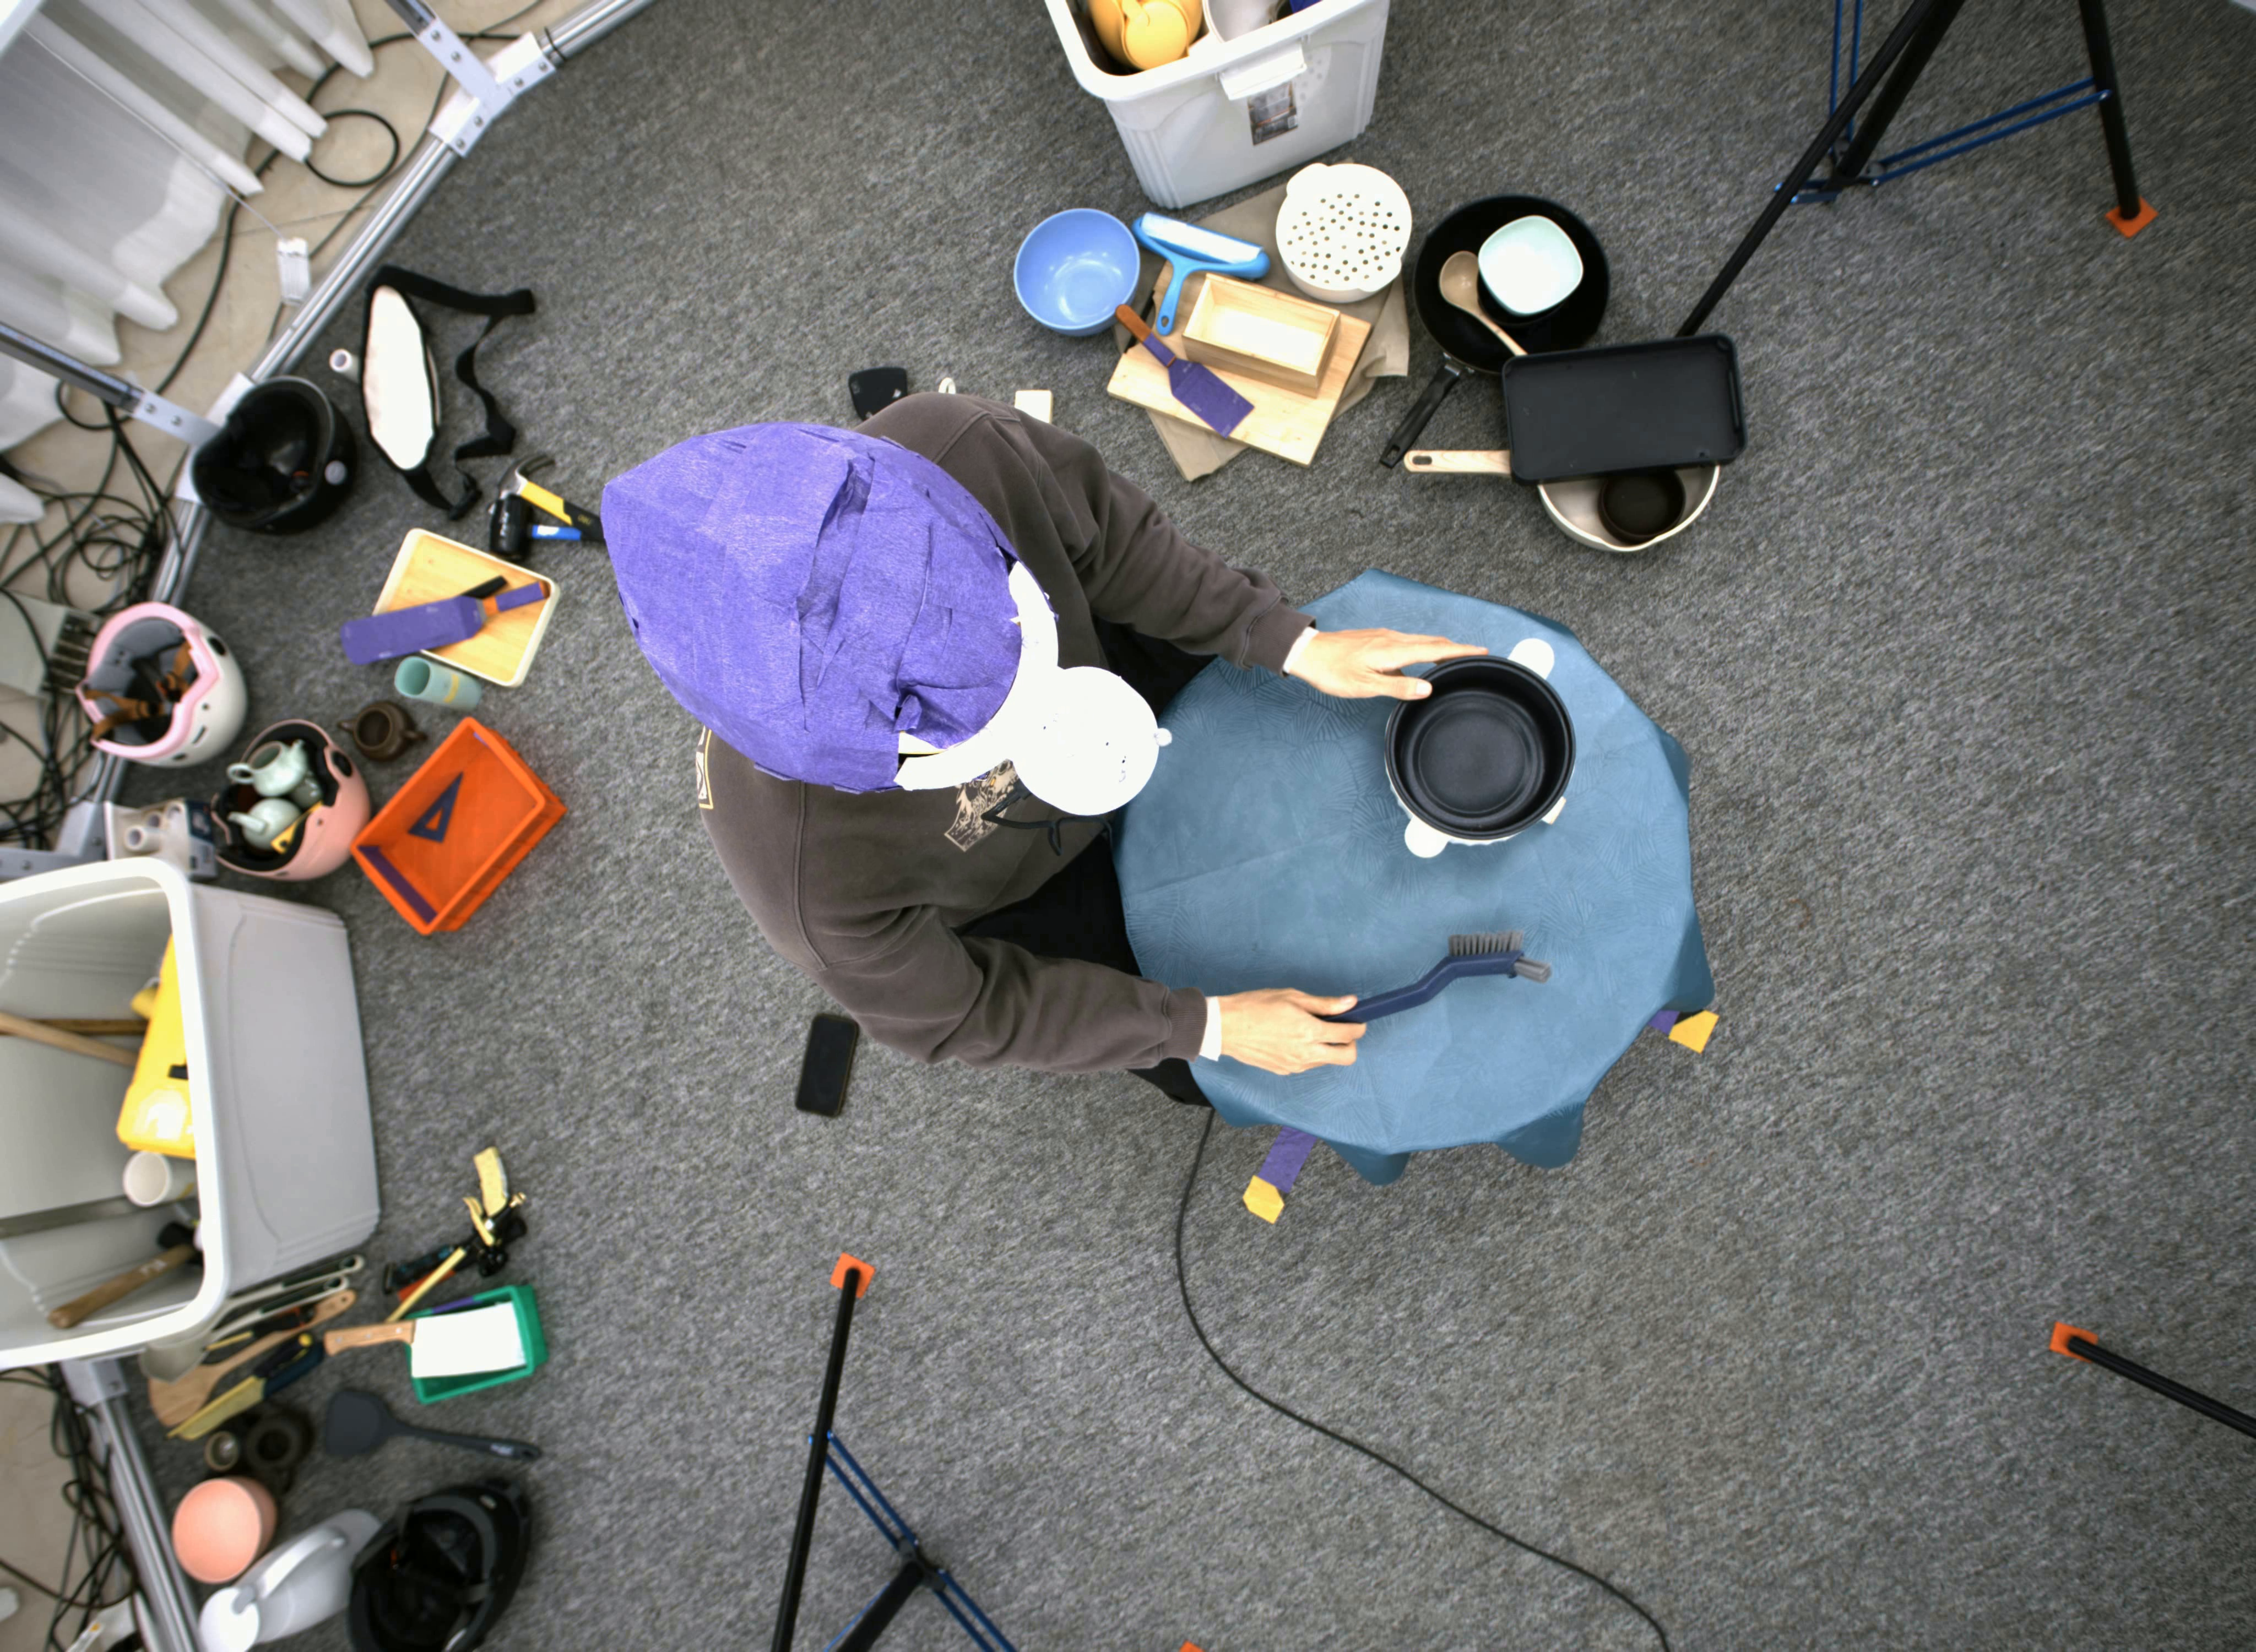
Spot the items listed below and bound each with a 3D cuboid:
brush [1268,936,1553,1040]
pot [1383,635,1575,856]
[{"bbox_3d":[0.276,0.172,1.372,0.274,0.034,0.093,-25,46,7],"label":"brush"},{"bbox_3d":[0.353,-0.071,1.378,0.190,0.142,0.241,31,94,14],"label":"pot"}]
